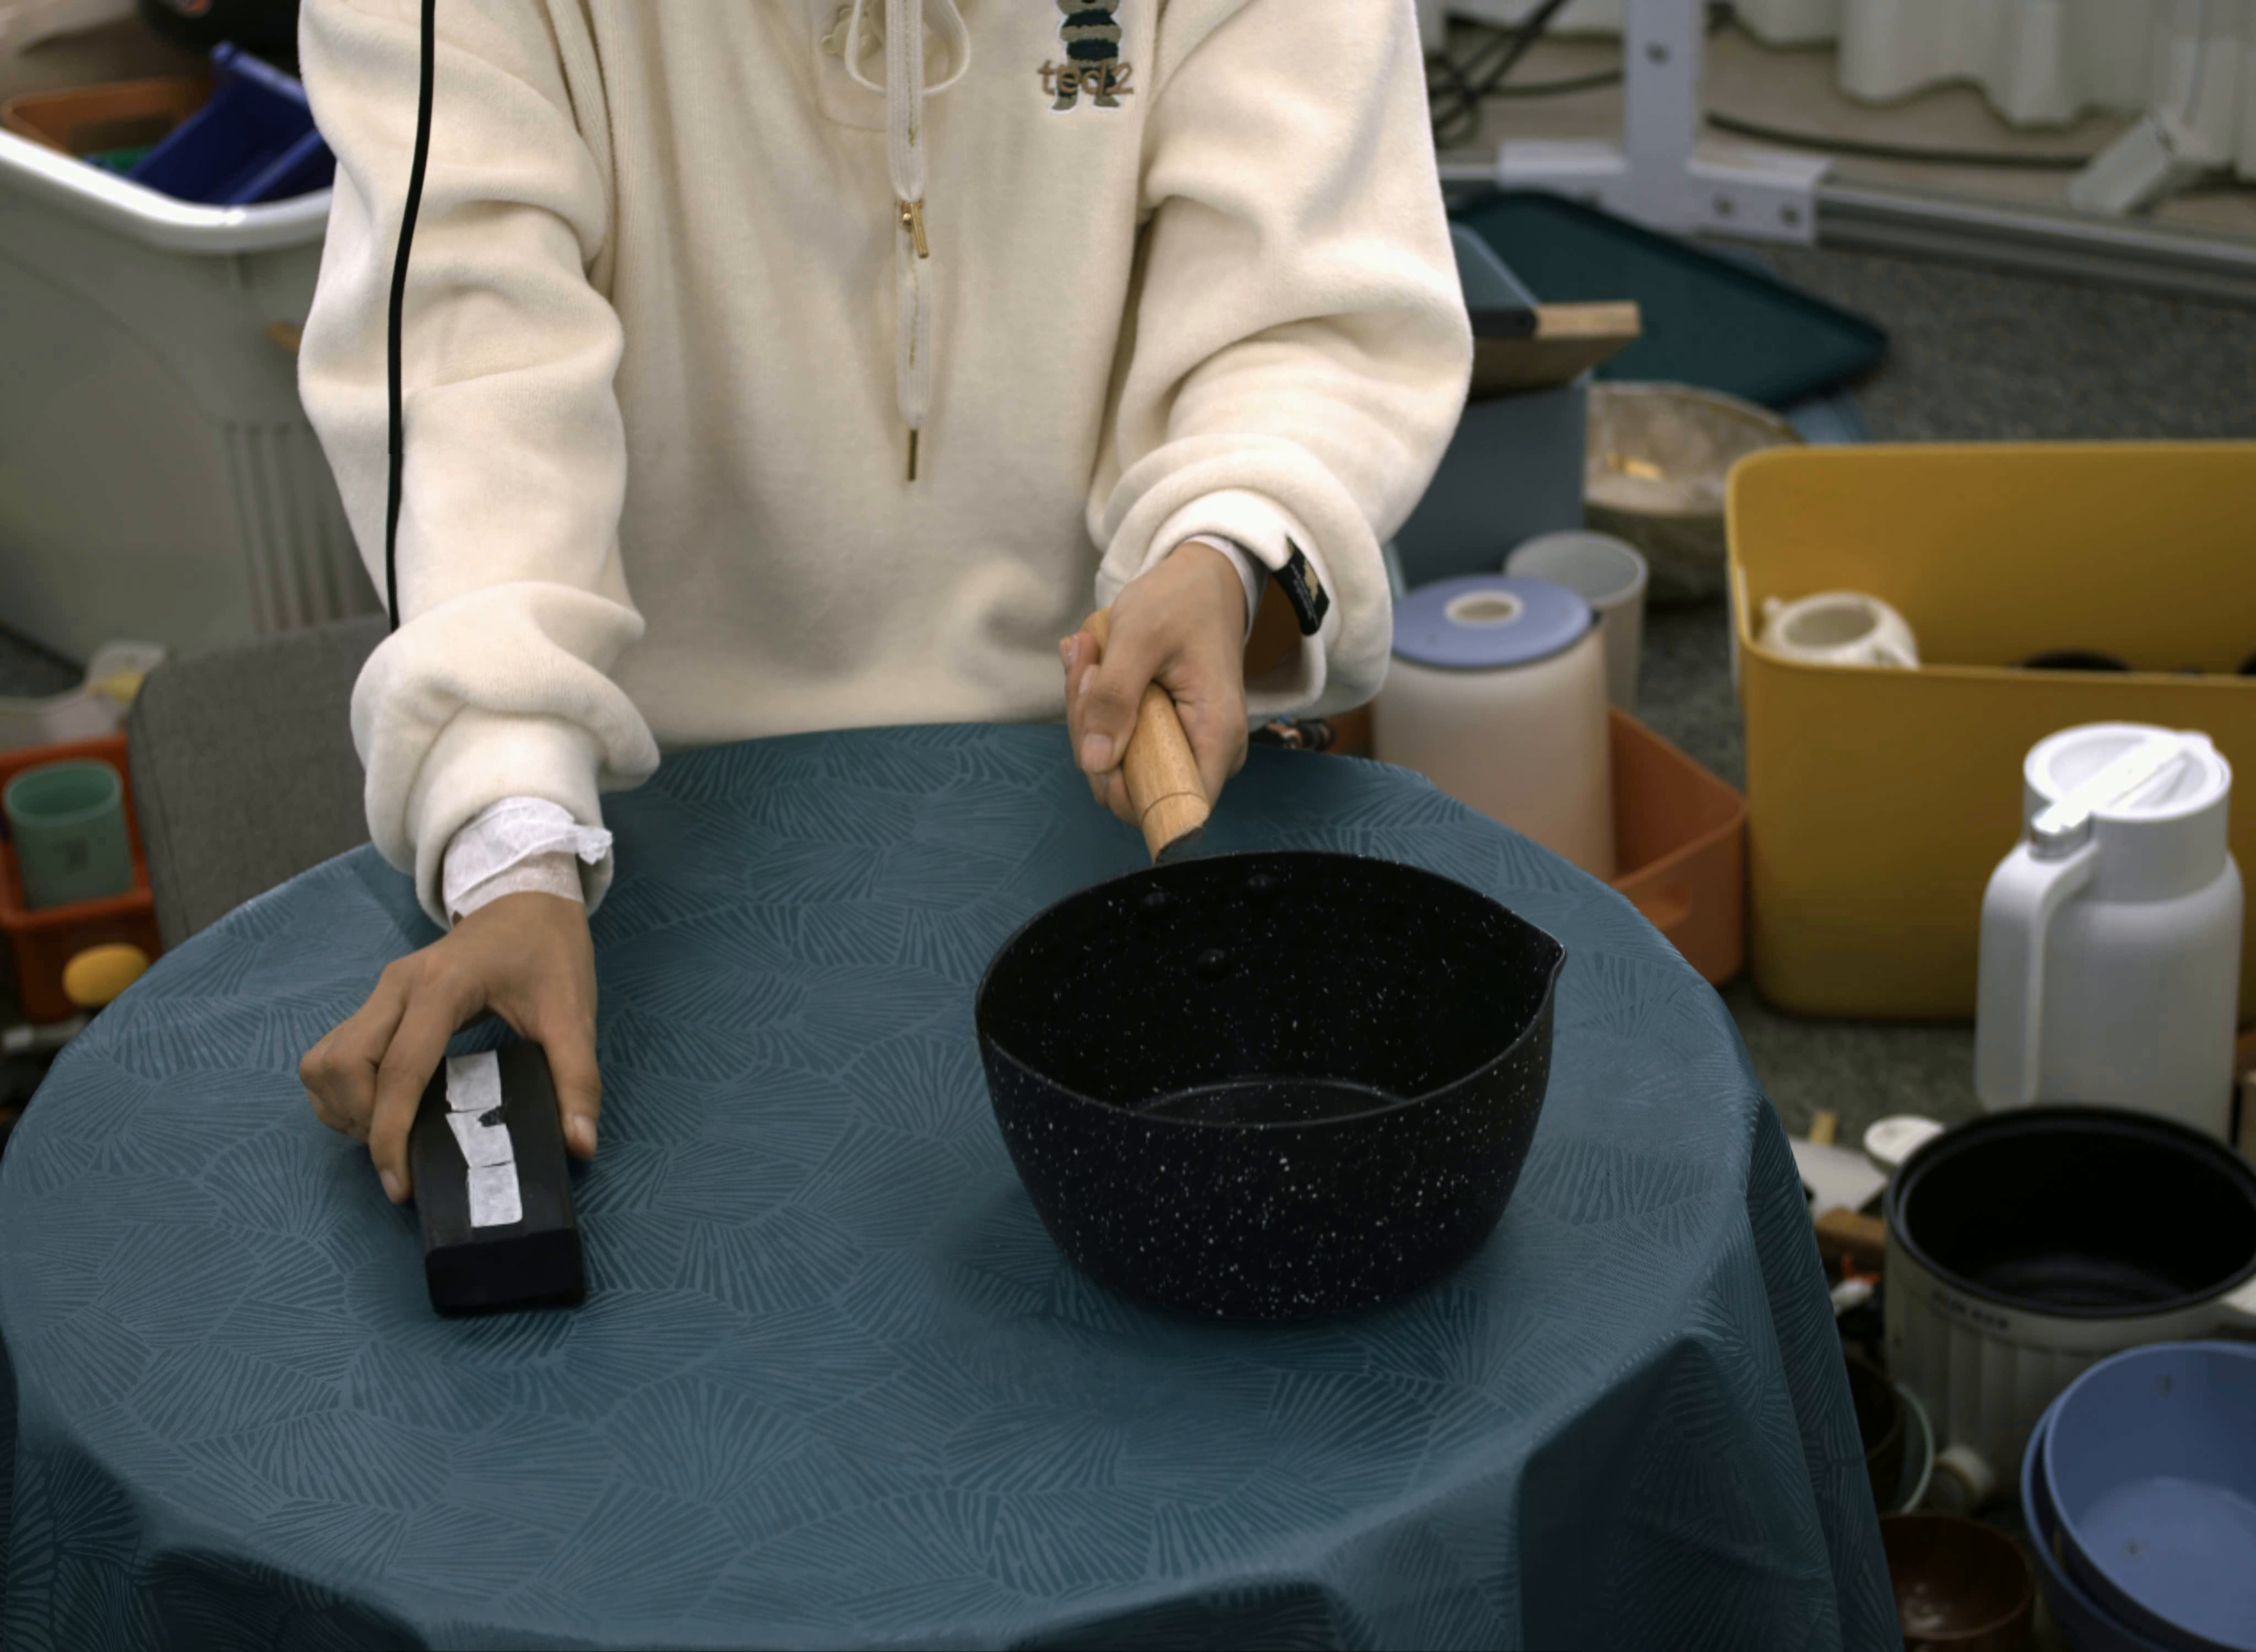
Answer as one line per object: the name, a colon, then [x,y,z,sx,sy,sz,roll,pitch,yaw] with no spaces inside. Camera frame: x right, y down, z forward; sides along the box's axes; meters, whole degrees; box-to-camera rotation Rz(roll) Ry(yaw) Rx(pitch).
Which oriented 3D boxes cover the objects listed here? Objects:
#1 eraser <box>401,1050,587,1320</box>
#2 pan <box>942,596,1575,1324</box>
eraser: [-0.209,0.118,1.856,0.053,0.030,0.127,-7,28,-7]
pan: [0.028,0.041,1.892,0.207,0.107,0.347,-8,28,-10]
